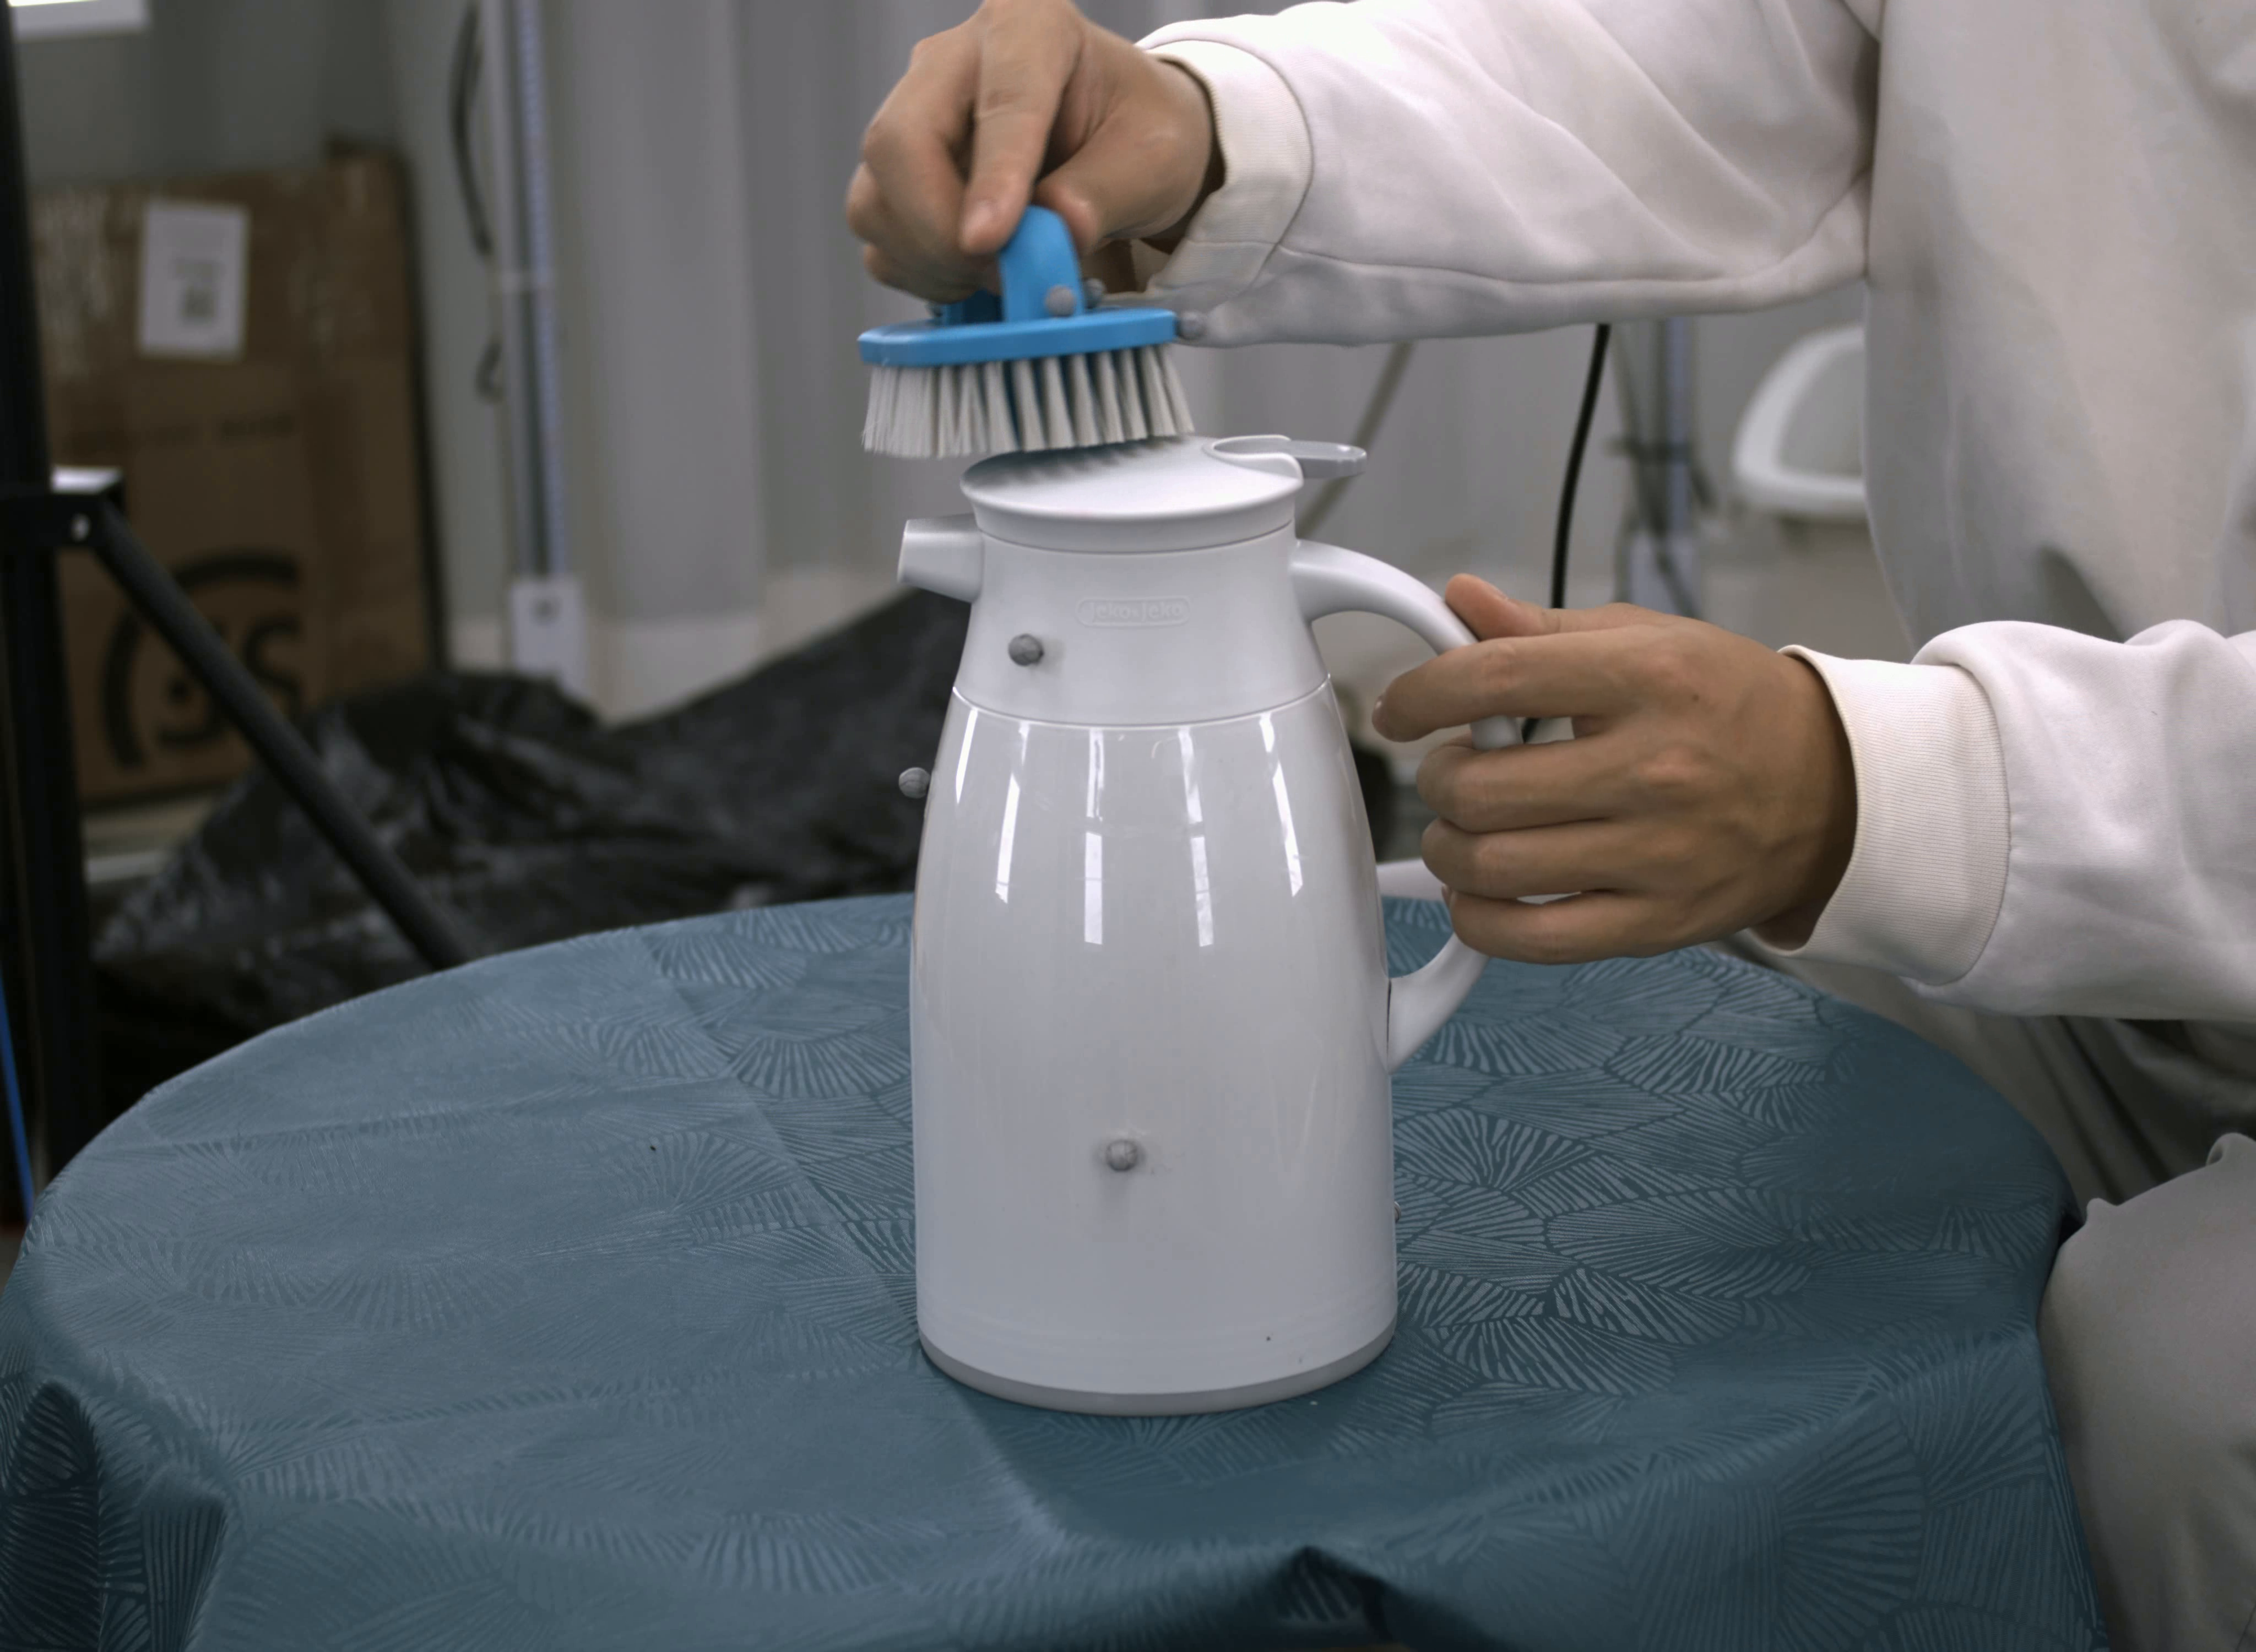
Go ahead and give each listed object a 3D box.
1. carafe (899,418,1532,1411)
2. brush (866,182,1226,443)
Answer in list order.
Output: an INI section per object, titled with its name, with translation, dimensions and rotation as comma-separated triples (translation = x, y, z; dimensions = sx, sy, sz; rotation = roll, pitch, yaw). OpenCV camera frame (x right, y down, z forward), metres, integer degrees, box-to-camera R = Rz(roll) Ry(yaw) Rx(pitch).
[carafe]
translation = 0.024, 0.016, 1.422
dimensions = 0.167, 0.248, 0.133
rotation = -1, 15, 2
[brush]
translation = -0.026, -0.140, 1.433
dimensions = 0.083, 0.064, 0.143
rotation = -10, 6, -10
